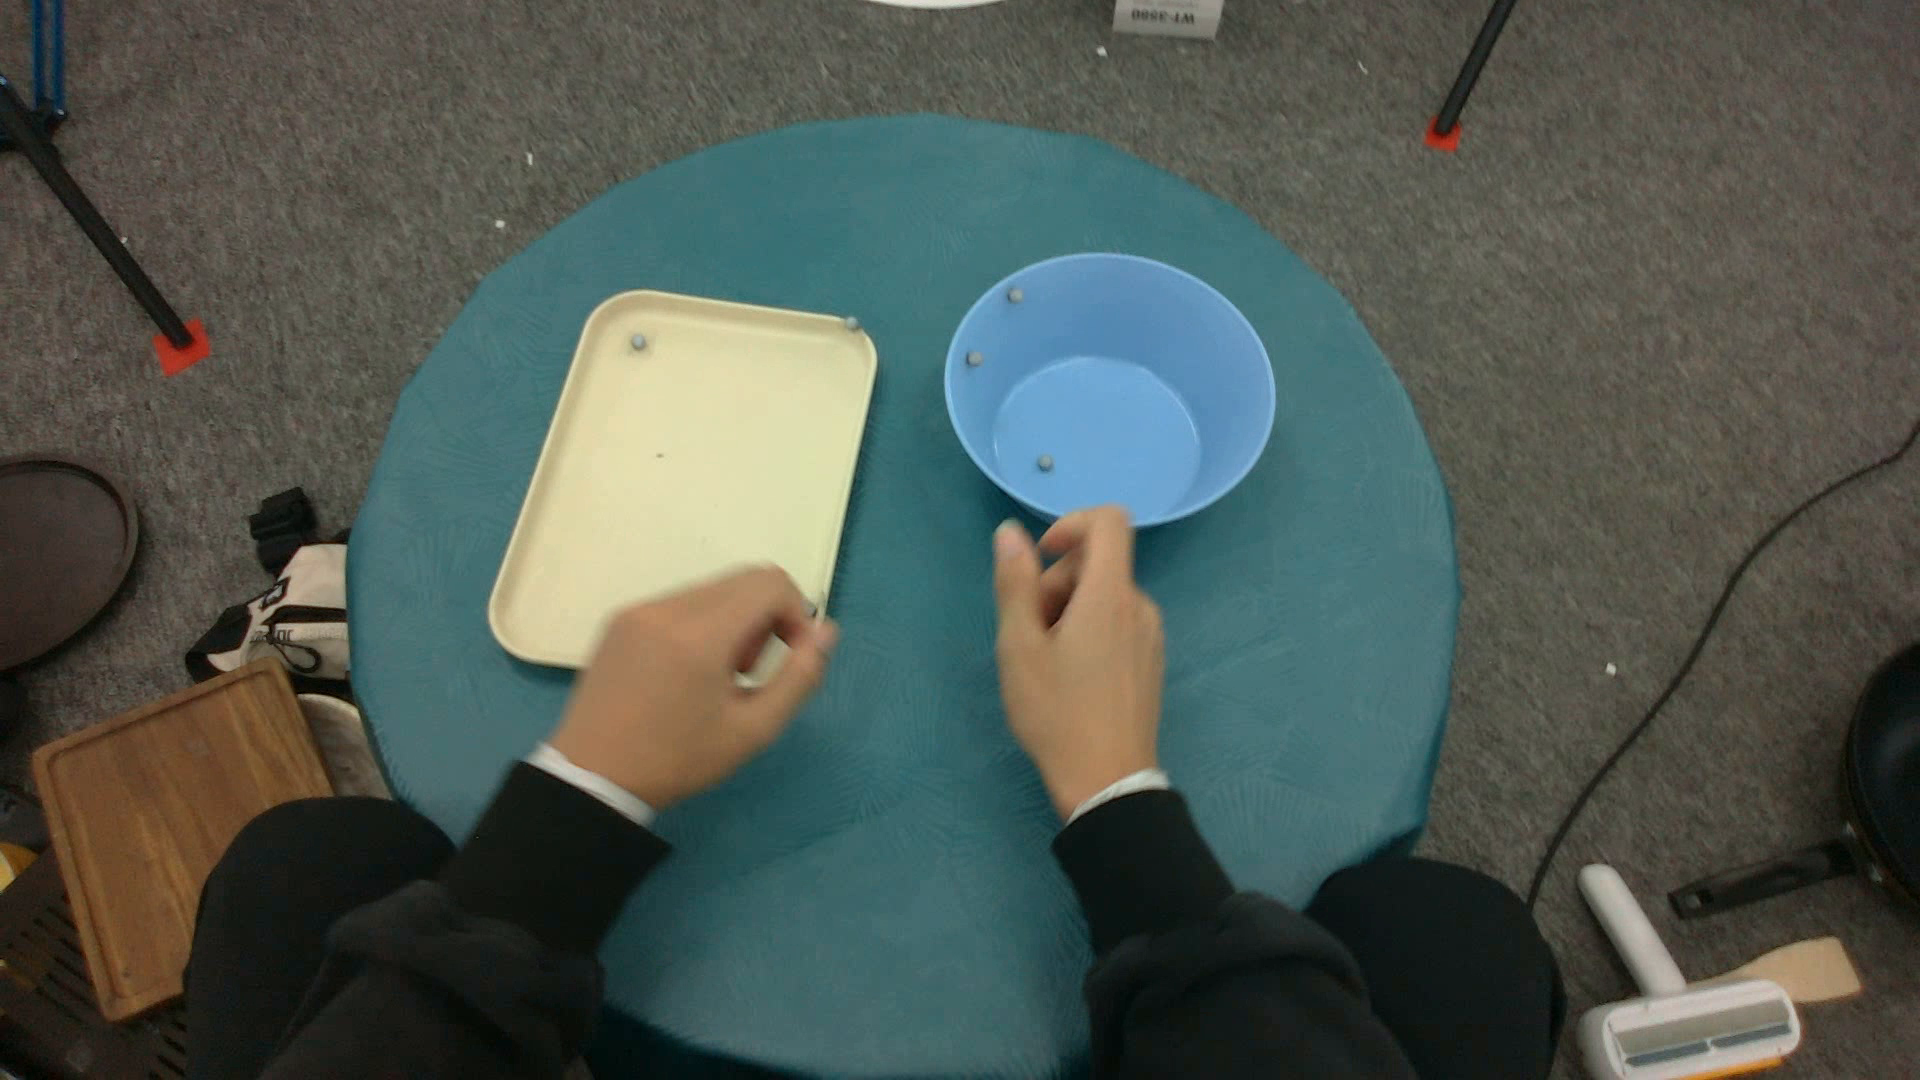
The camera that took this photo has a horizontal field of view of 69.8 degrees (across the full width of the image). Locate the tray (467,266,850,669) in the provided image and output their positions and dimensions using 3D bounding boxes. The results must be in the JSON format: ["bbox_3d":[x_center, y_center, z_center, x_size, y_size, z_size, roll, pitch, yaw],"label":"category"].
[{"bbox_3d":[-0.157,-0.045,0.750,0.171,0.017,0.240,8,62,1],"label":"tray"}]

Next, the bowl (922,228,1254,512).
[{"bbox_3d":[0.066,-0.082,0.753,0.176,0.070,0.177,1,61,-2],"label":"bowl"}]
